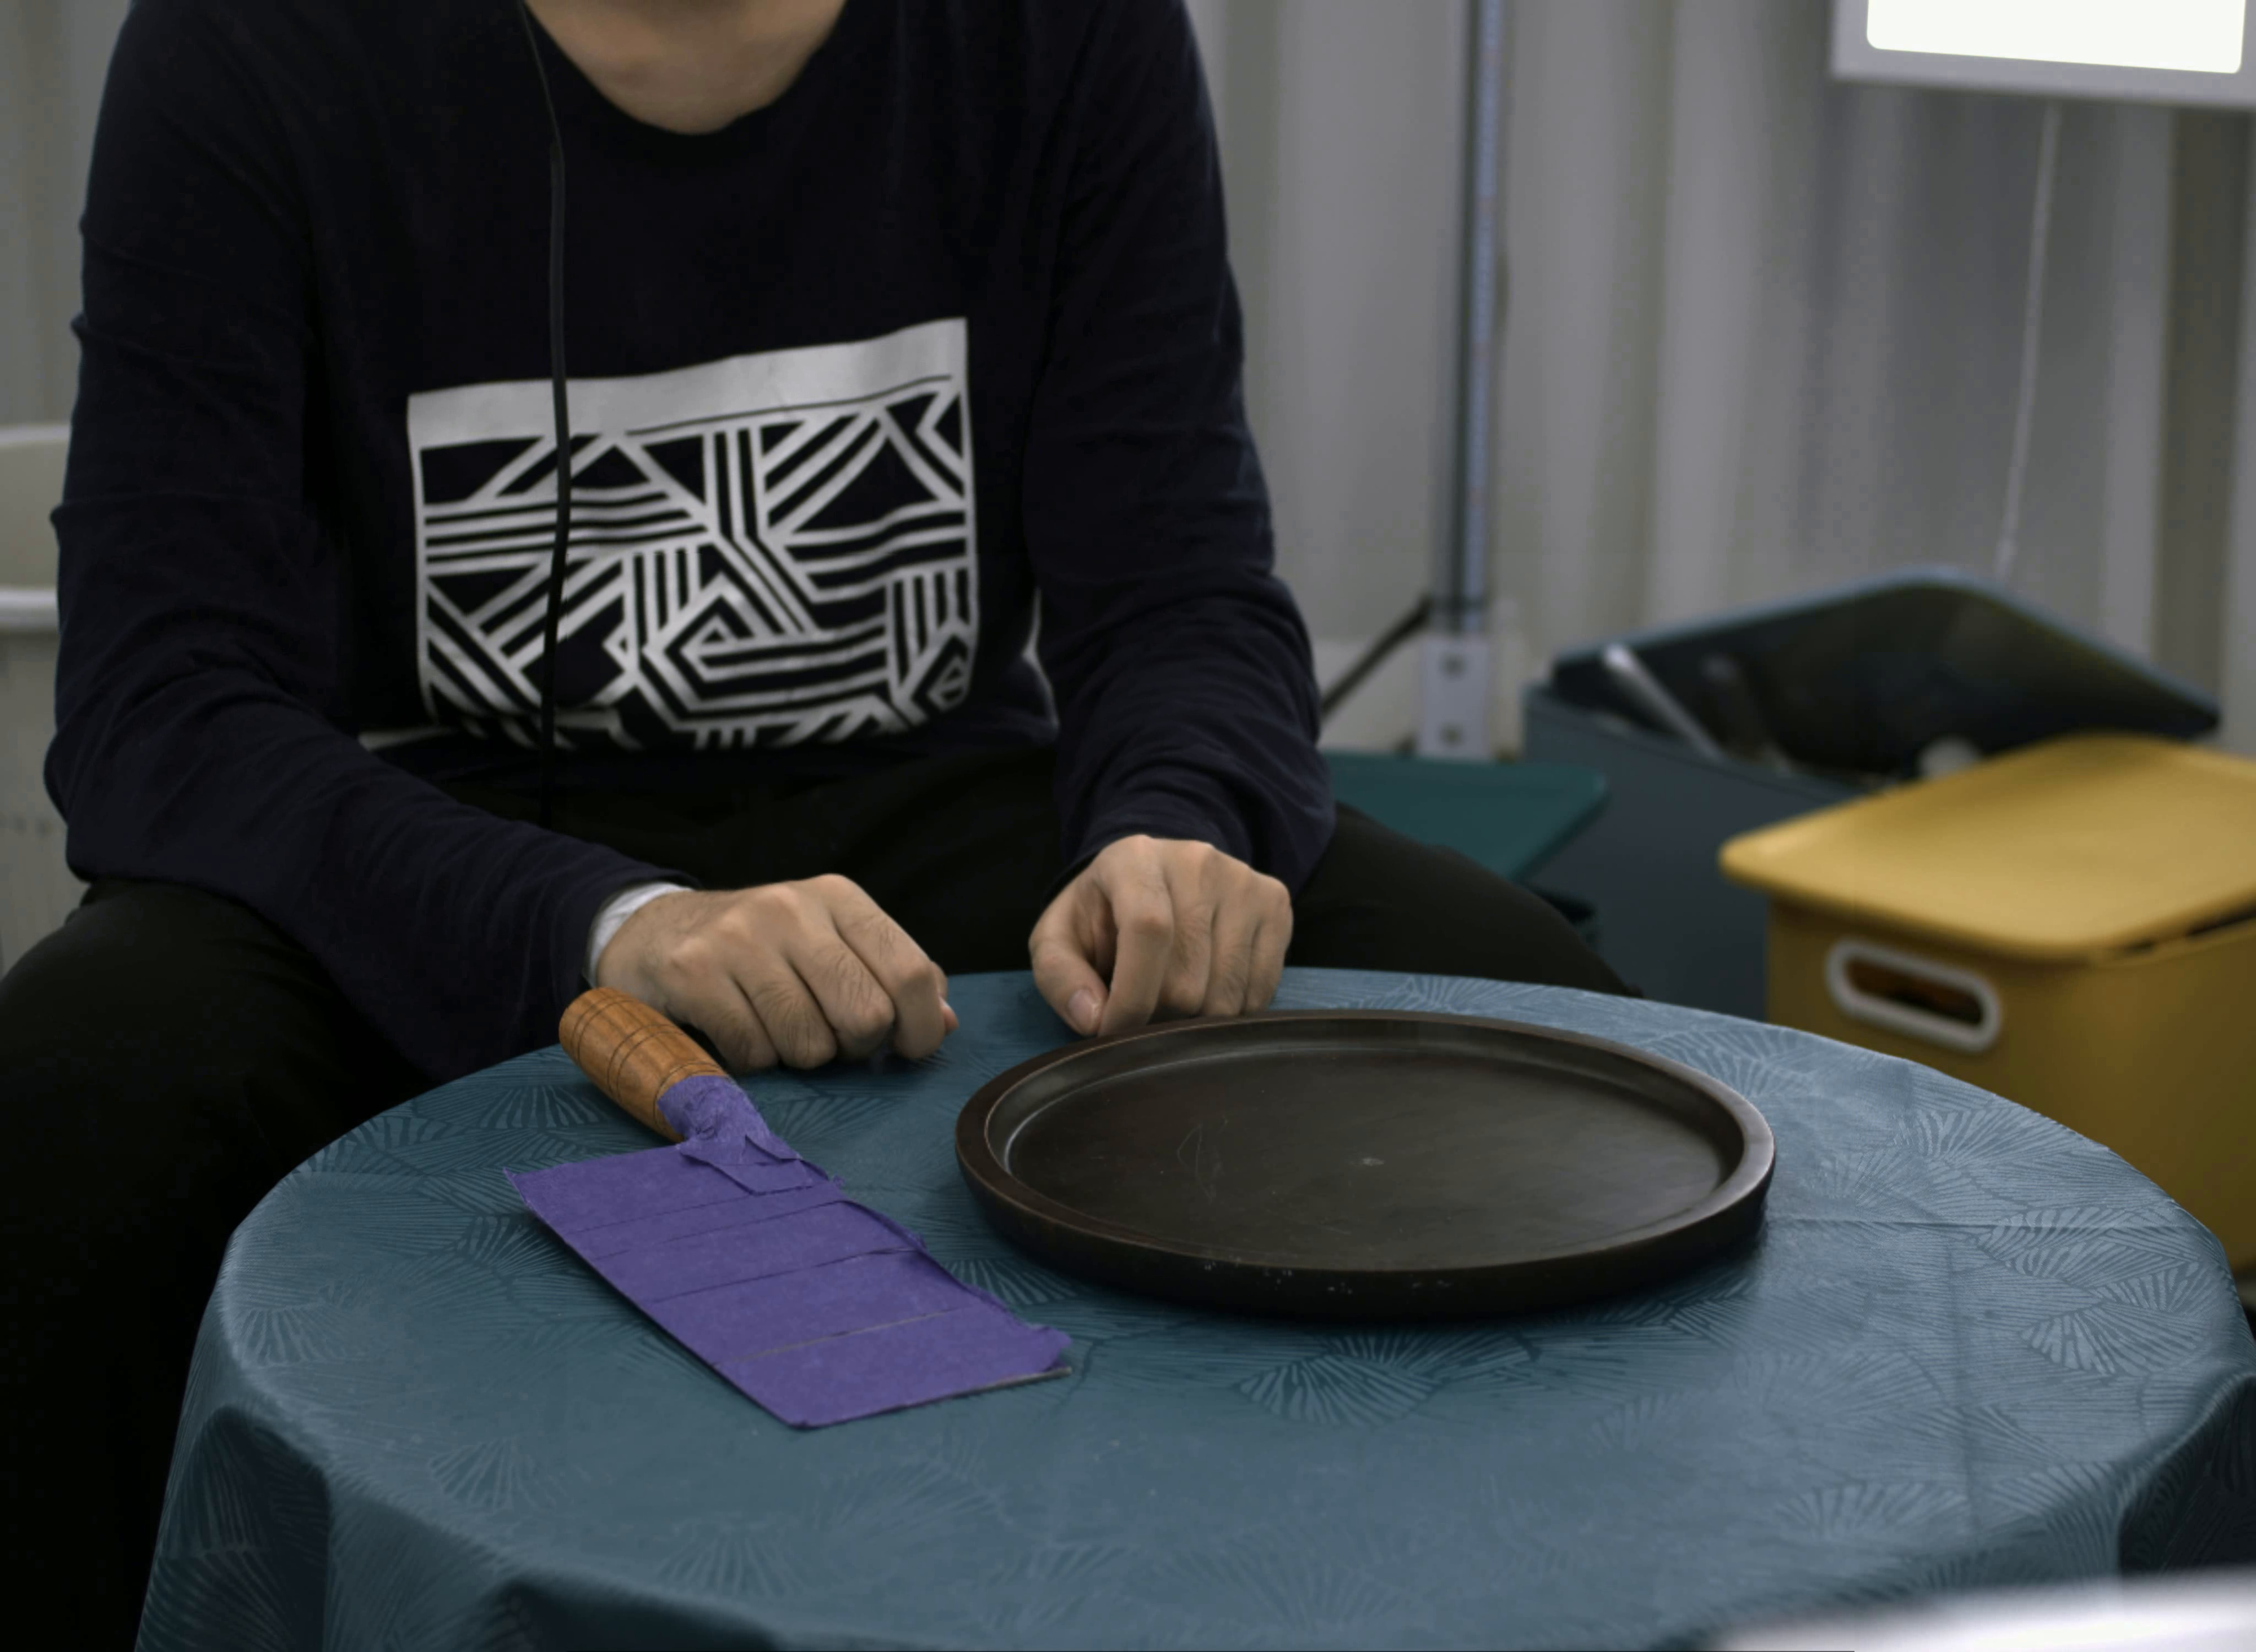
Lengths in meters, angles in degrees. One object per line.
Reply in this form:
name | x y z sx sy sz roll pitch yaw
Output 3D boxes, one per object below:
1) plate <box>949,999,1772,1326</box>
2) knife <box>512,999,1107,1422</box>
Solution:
plate | 0.071 0.102 1.619 0.254 0.029 0.253 0 16 0
knife | -0.126 0.111 1.575 0.104 0.032 0.311 -8 18 -29
